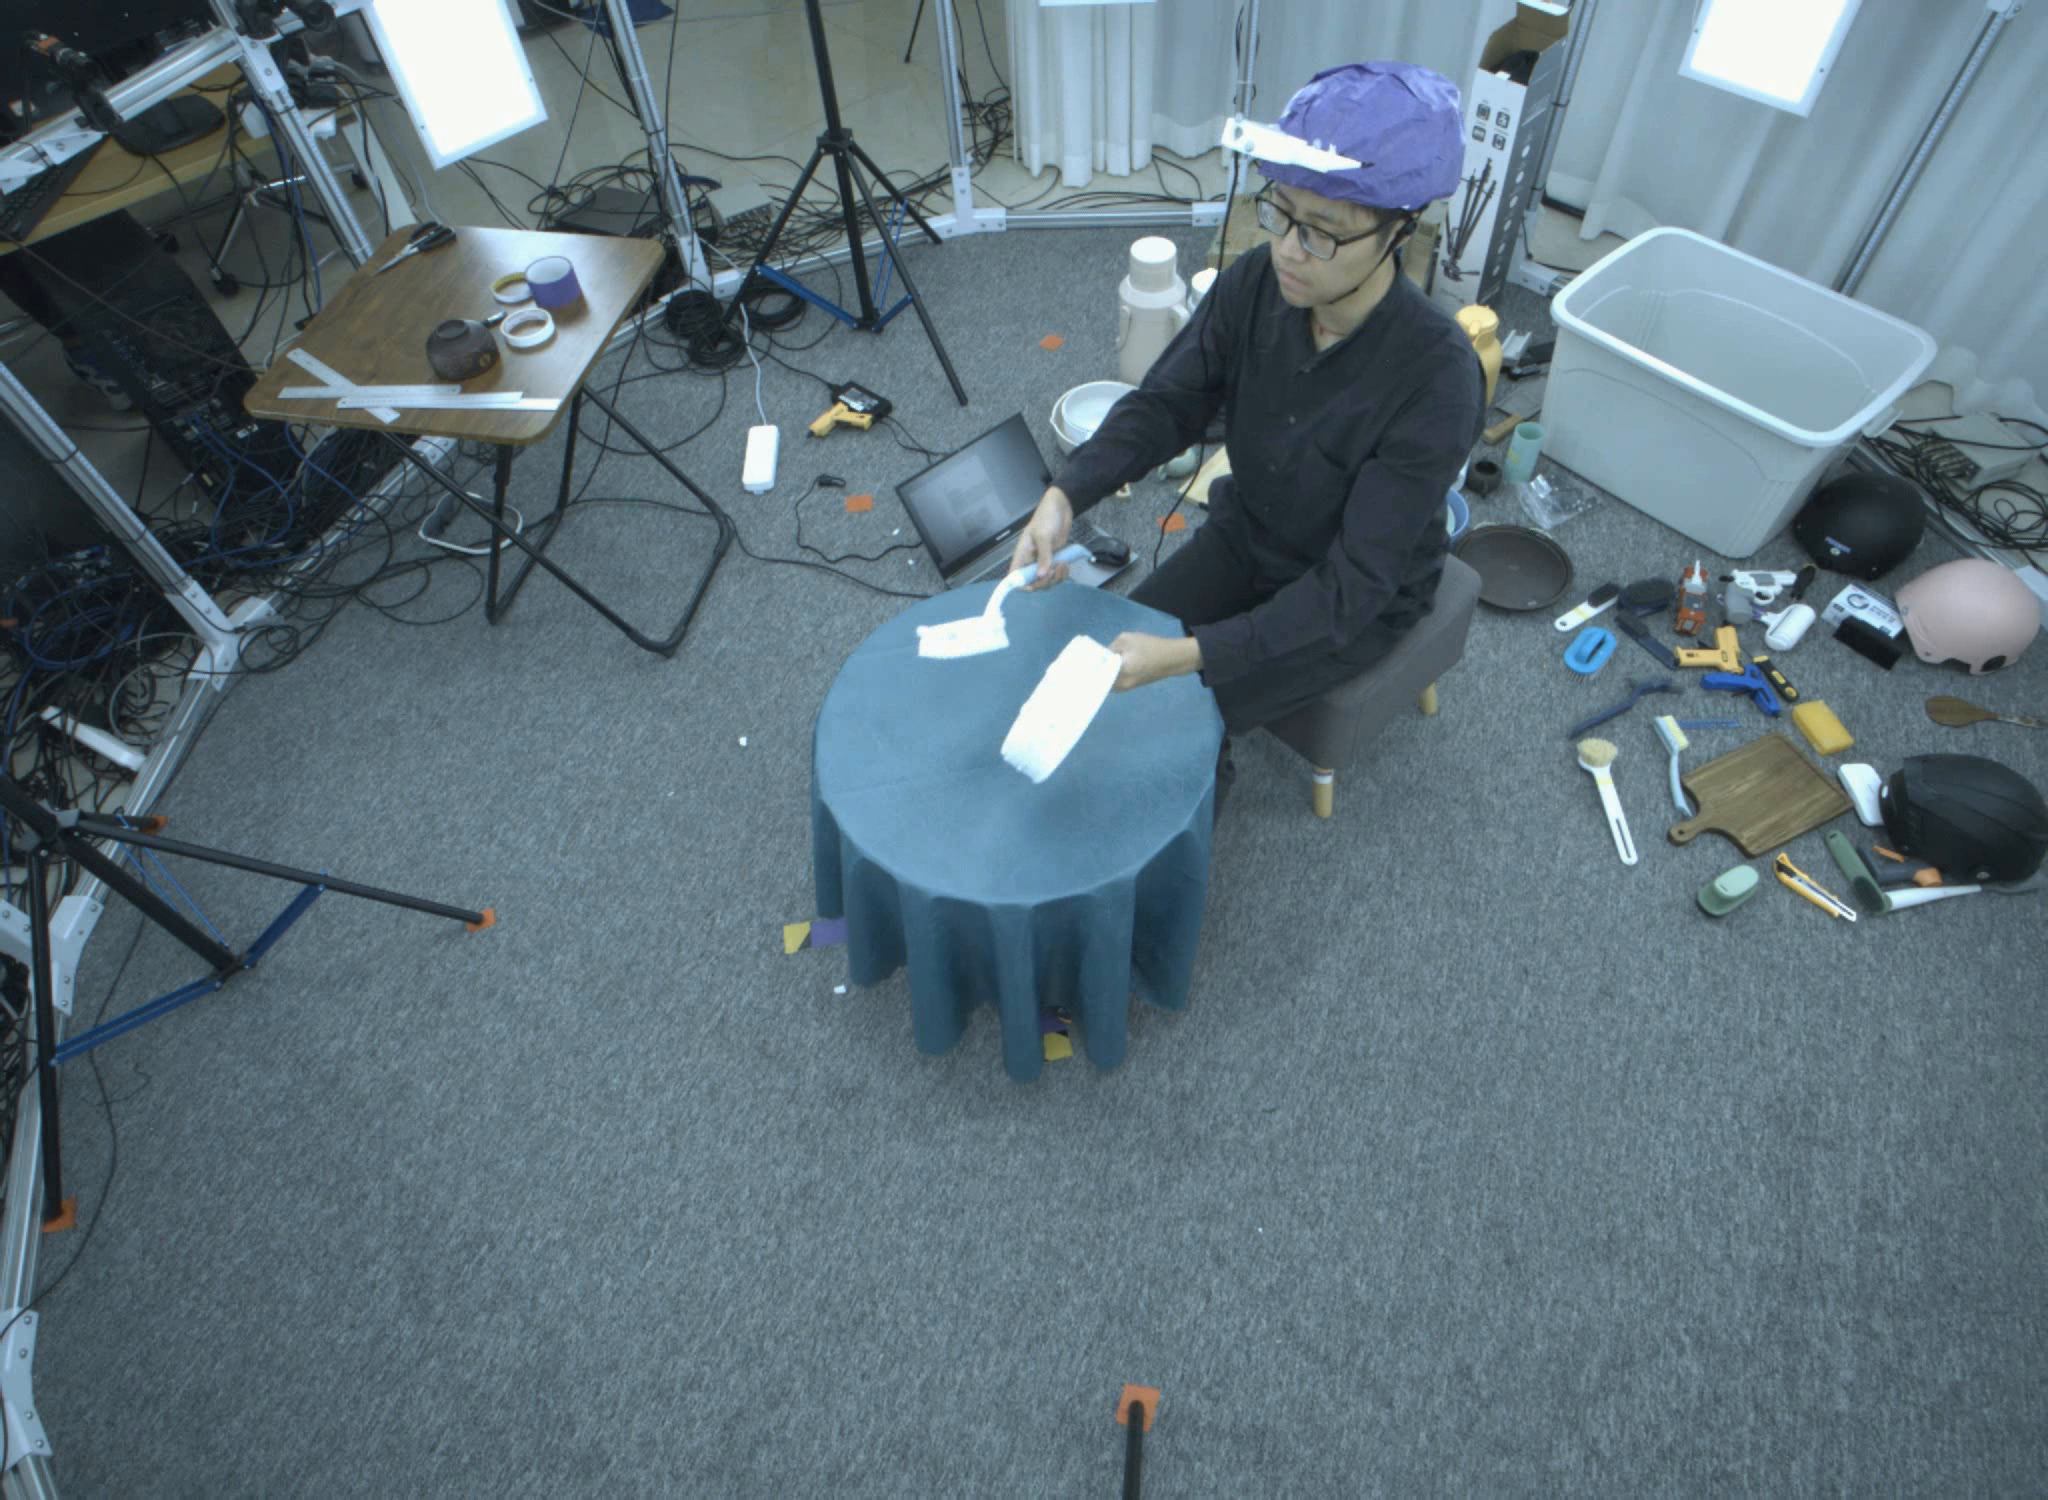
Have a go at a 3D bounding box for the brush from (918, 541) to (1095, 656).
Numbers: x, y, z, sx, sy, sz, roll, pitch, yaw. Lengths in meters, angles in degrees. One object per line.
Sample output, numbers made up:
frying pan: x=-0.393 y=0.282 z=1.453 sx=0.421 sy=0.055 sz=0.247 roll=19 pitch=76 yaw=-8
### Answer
brush: x=-0.011 y=-0.197 z=1.739 sx=0.329 sy=0.085 sz=0.082 roll=-30 pitch=63 yaw=-31

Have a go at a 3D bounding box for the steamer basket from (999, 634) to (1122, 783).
steamer basket: x=0.043 y=-0.057 z=1.600 sx=0.070 sy=0.201 sz=0.230 roll=33 pitch=35 yaw=-8
